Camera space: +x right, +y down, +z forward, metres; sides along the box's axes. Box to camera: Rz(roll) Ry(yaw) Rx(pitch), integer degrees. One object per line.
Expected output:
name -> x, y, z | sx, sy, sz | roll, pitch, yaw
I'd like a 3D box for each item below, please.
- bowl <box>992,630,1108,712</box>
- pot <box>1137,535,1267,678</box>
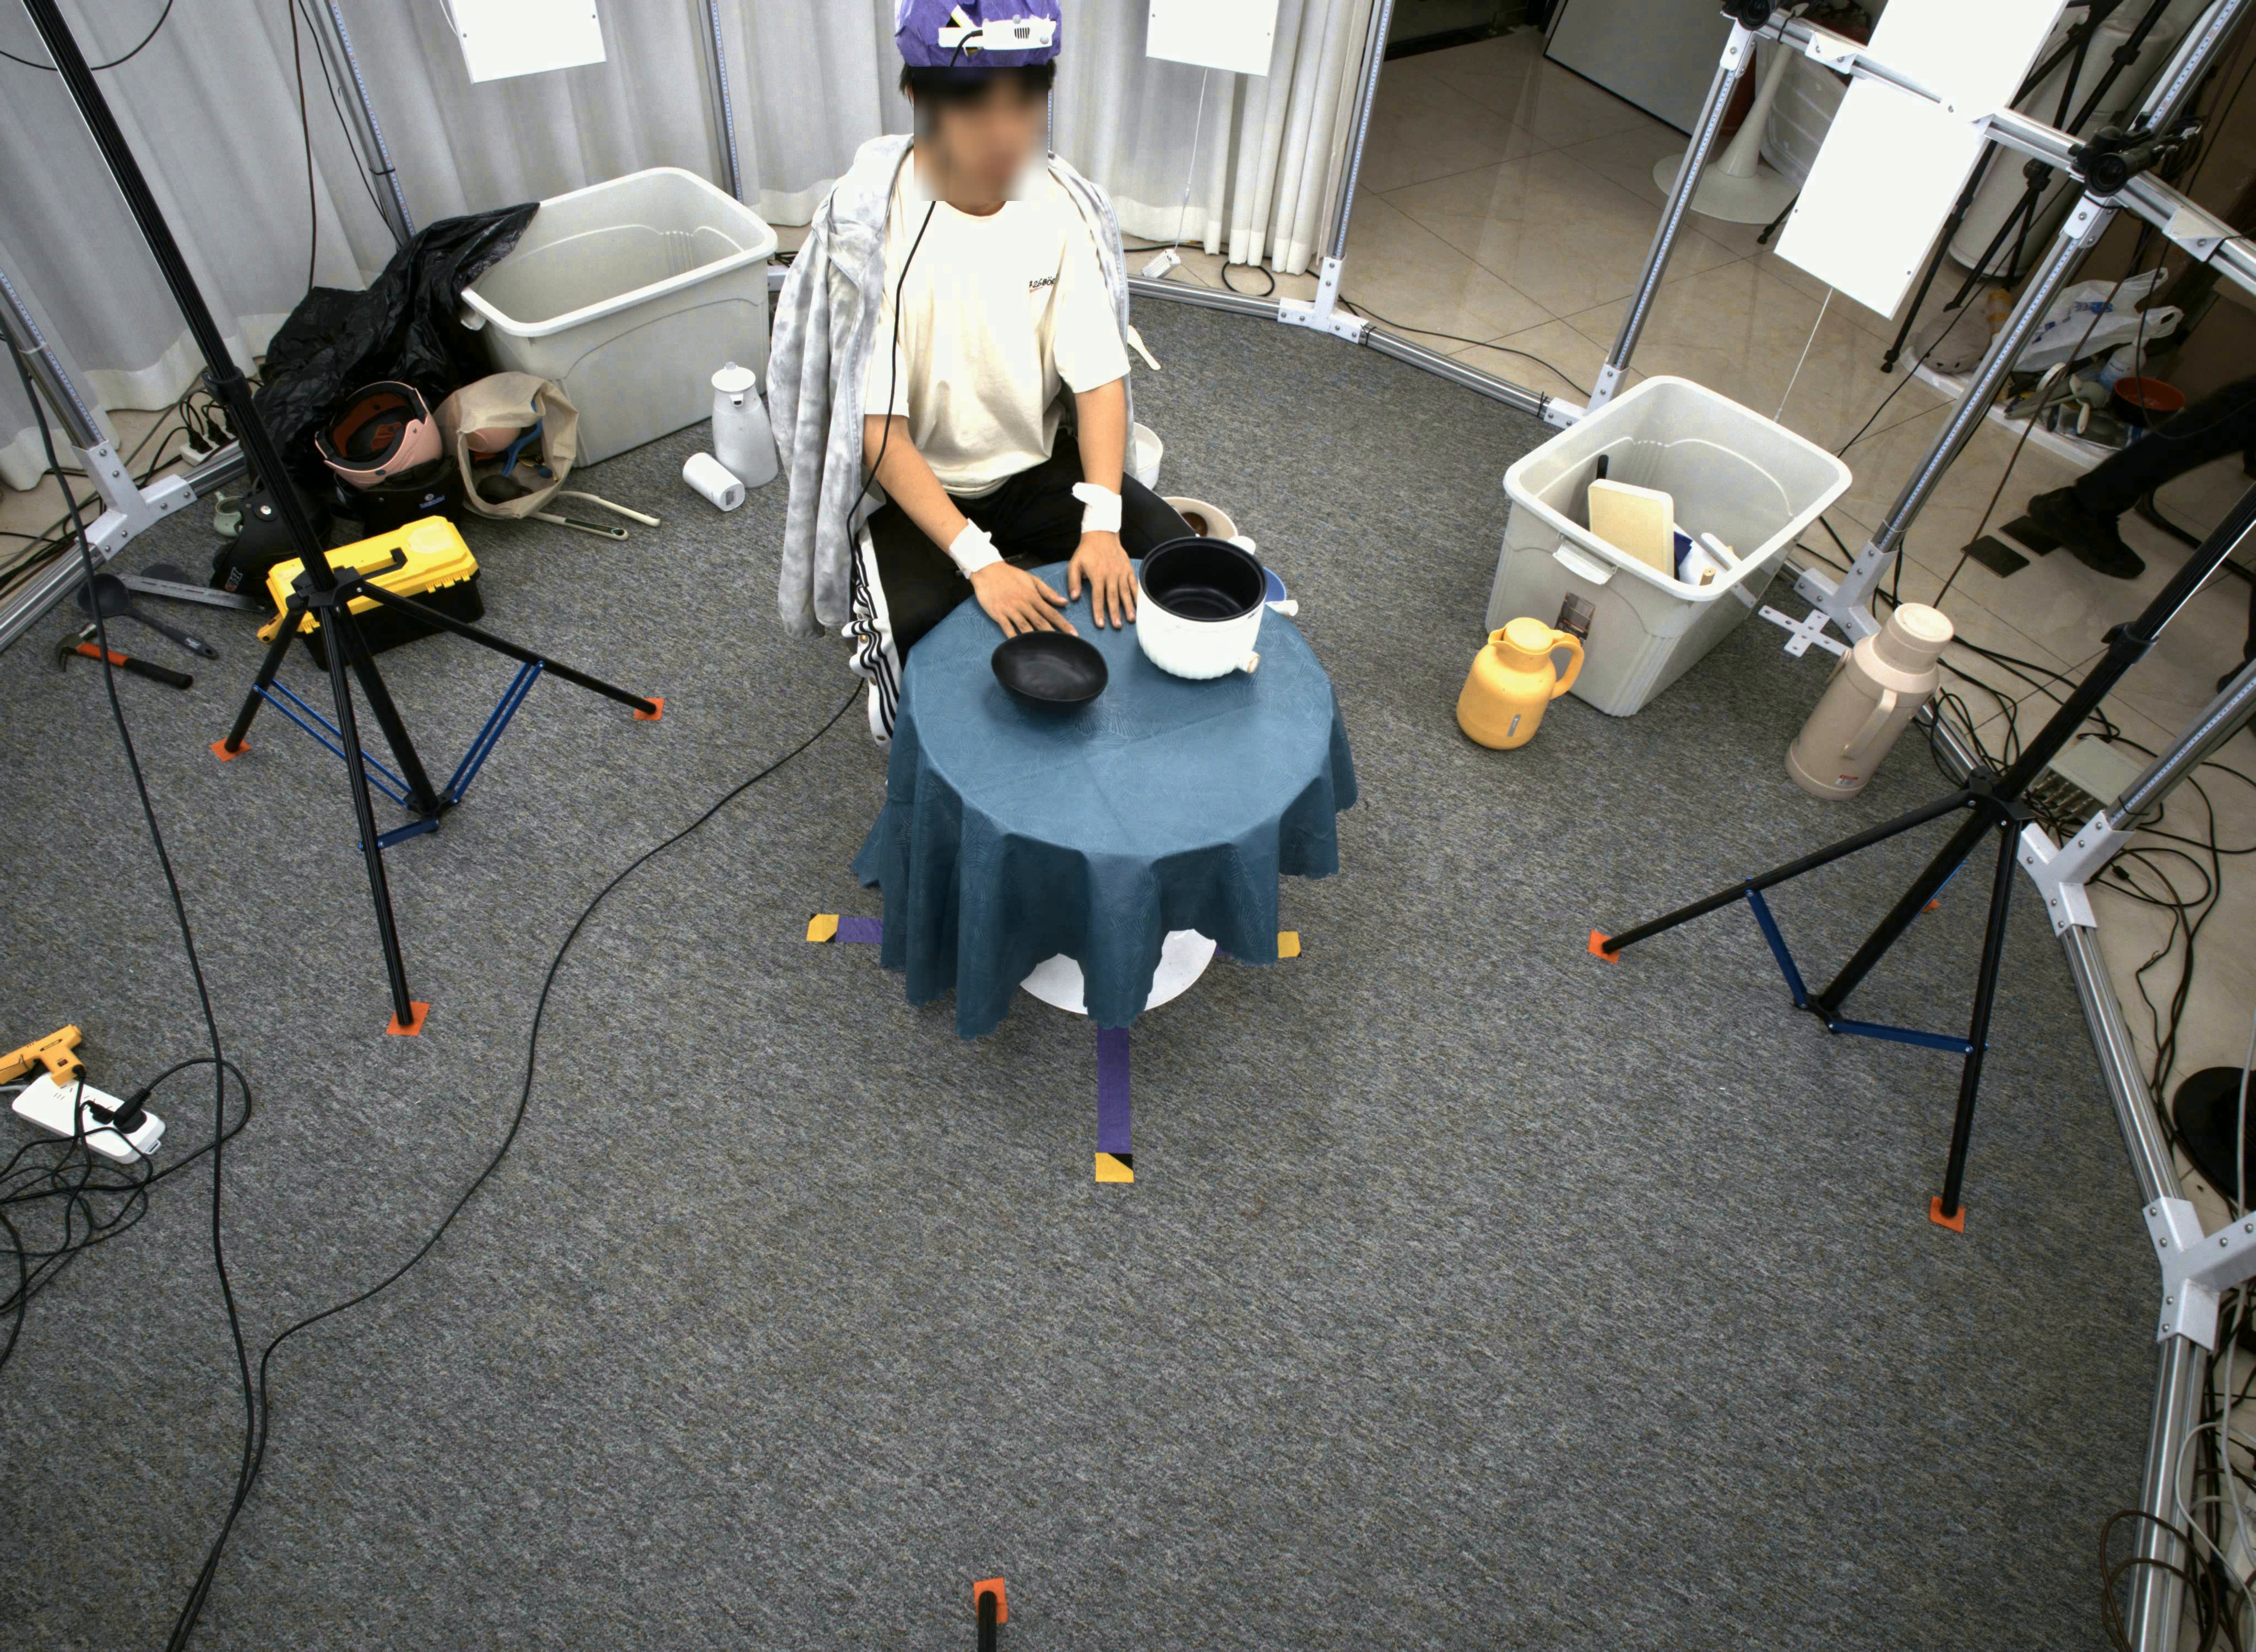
bowl -> -0.111, -0.204, 1.790 | 0.171, 0.065, 0.140 | 21, 49, 15
pot -> 0.106, -0.306, 1.845 | 0.192, 0.139, 0.243 | 27, 53, 23
